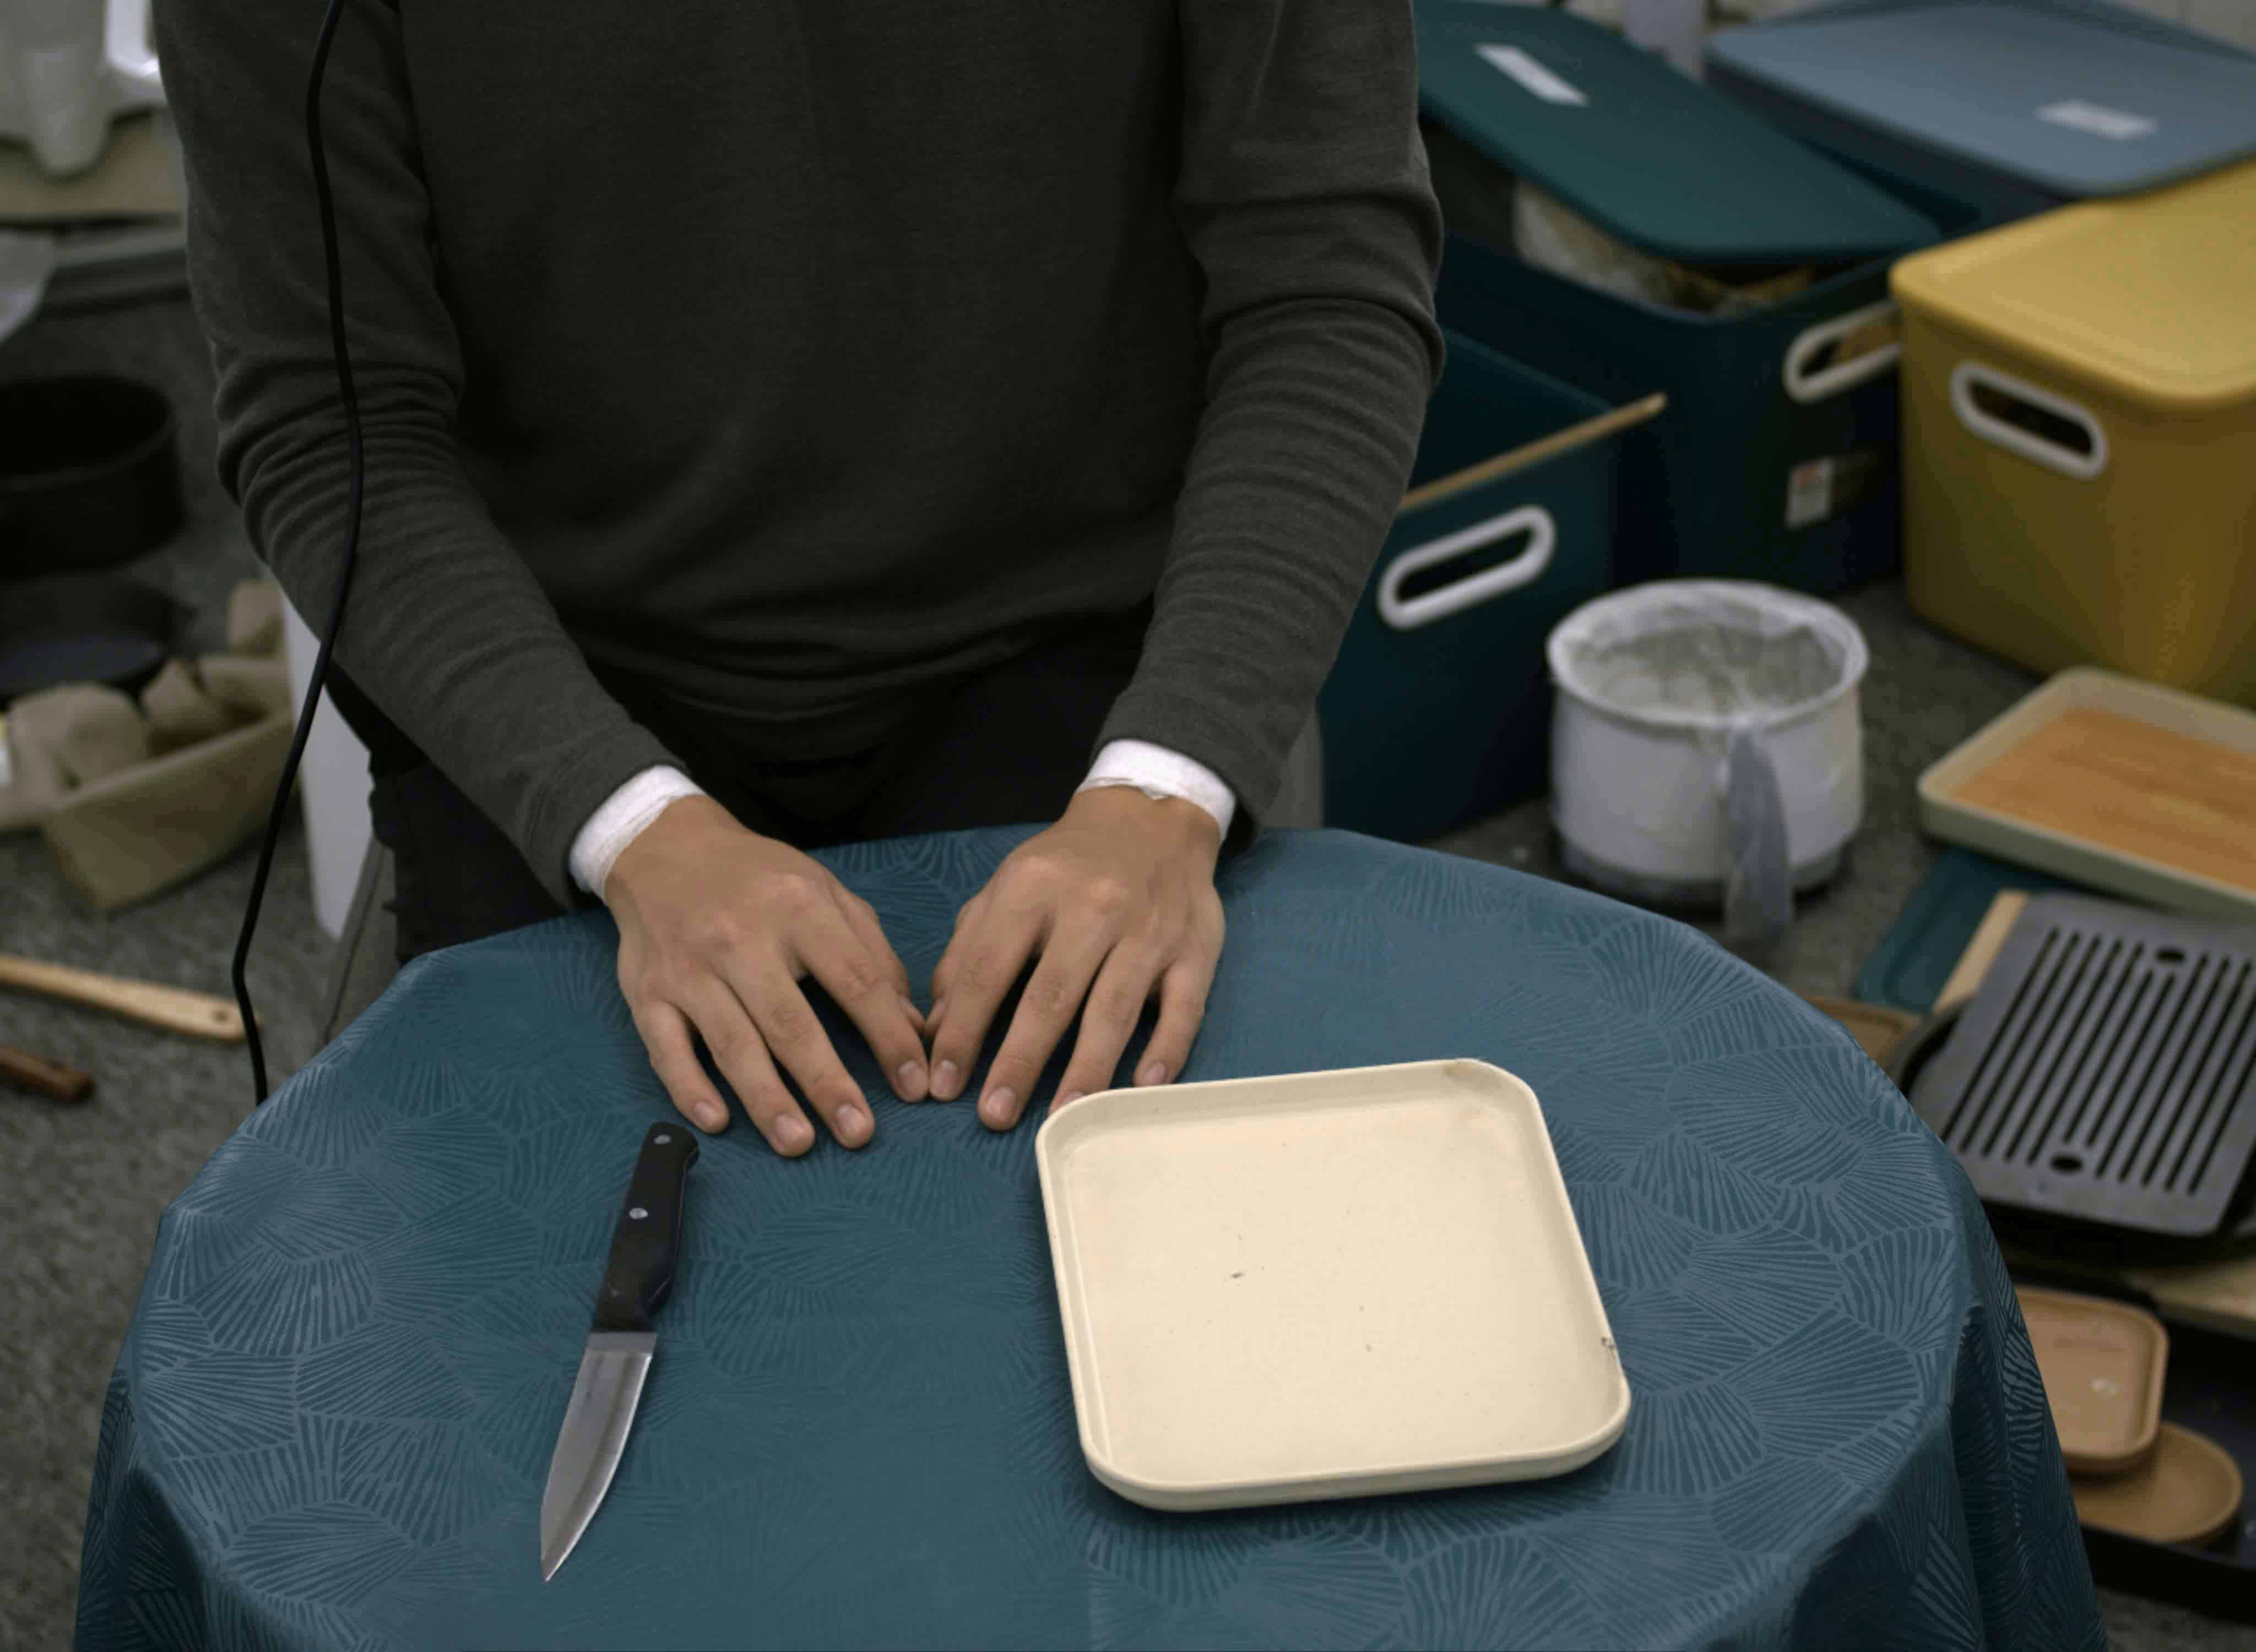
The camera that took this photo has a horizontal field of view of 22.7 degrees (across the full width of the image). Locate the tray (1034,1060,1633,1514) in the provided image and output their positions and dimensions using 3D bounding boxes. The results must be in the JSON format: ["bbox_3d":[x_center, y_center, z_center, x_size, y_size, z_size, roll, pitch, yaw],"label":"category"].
[{"bbox_3d":[0.061,0.145,1.791,0.171,0.017,0.243,-5,27,-3],"label":"tray"}]

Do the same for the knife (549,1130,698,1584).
[{"bbox_3d":[-0.163,0.166,1.778,0.024,0.016,0.242,-2,30,6],"label":"knife"}]
